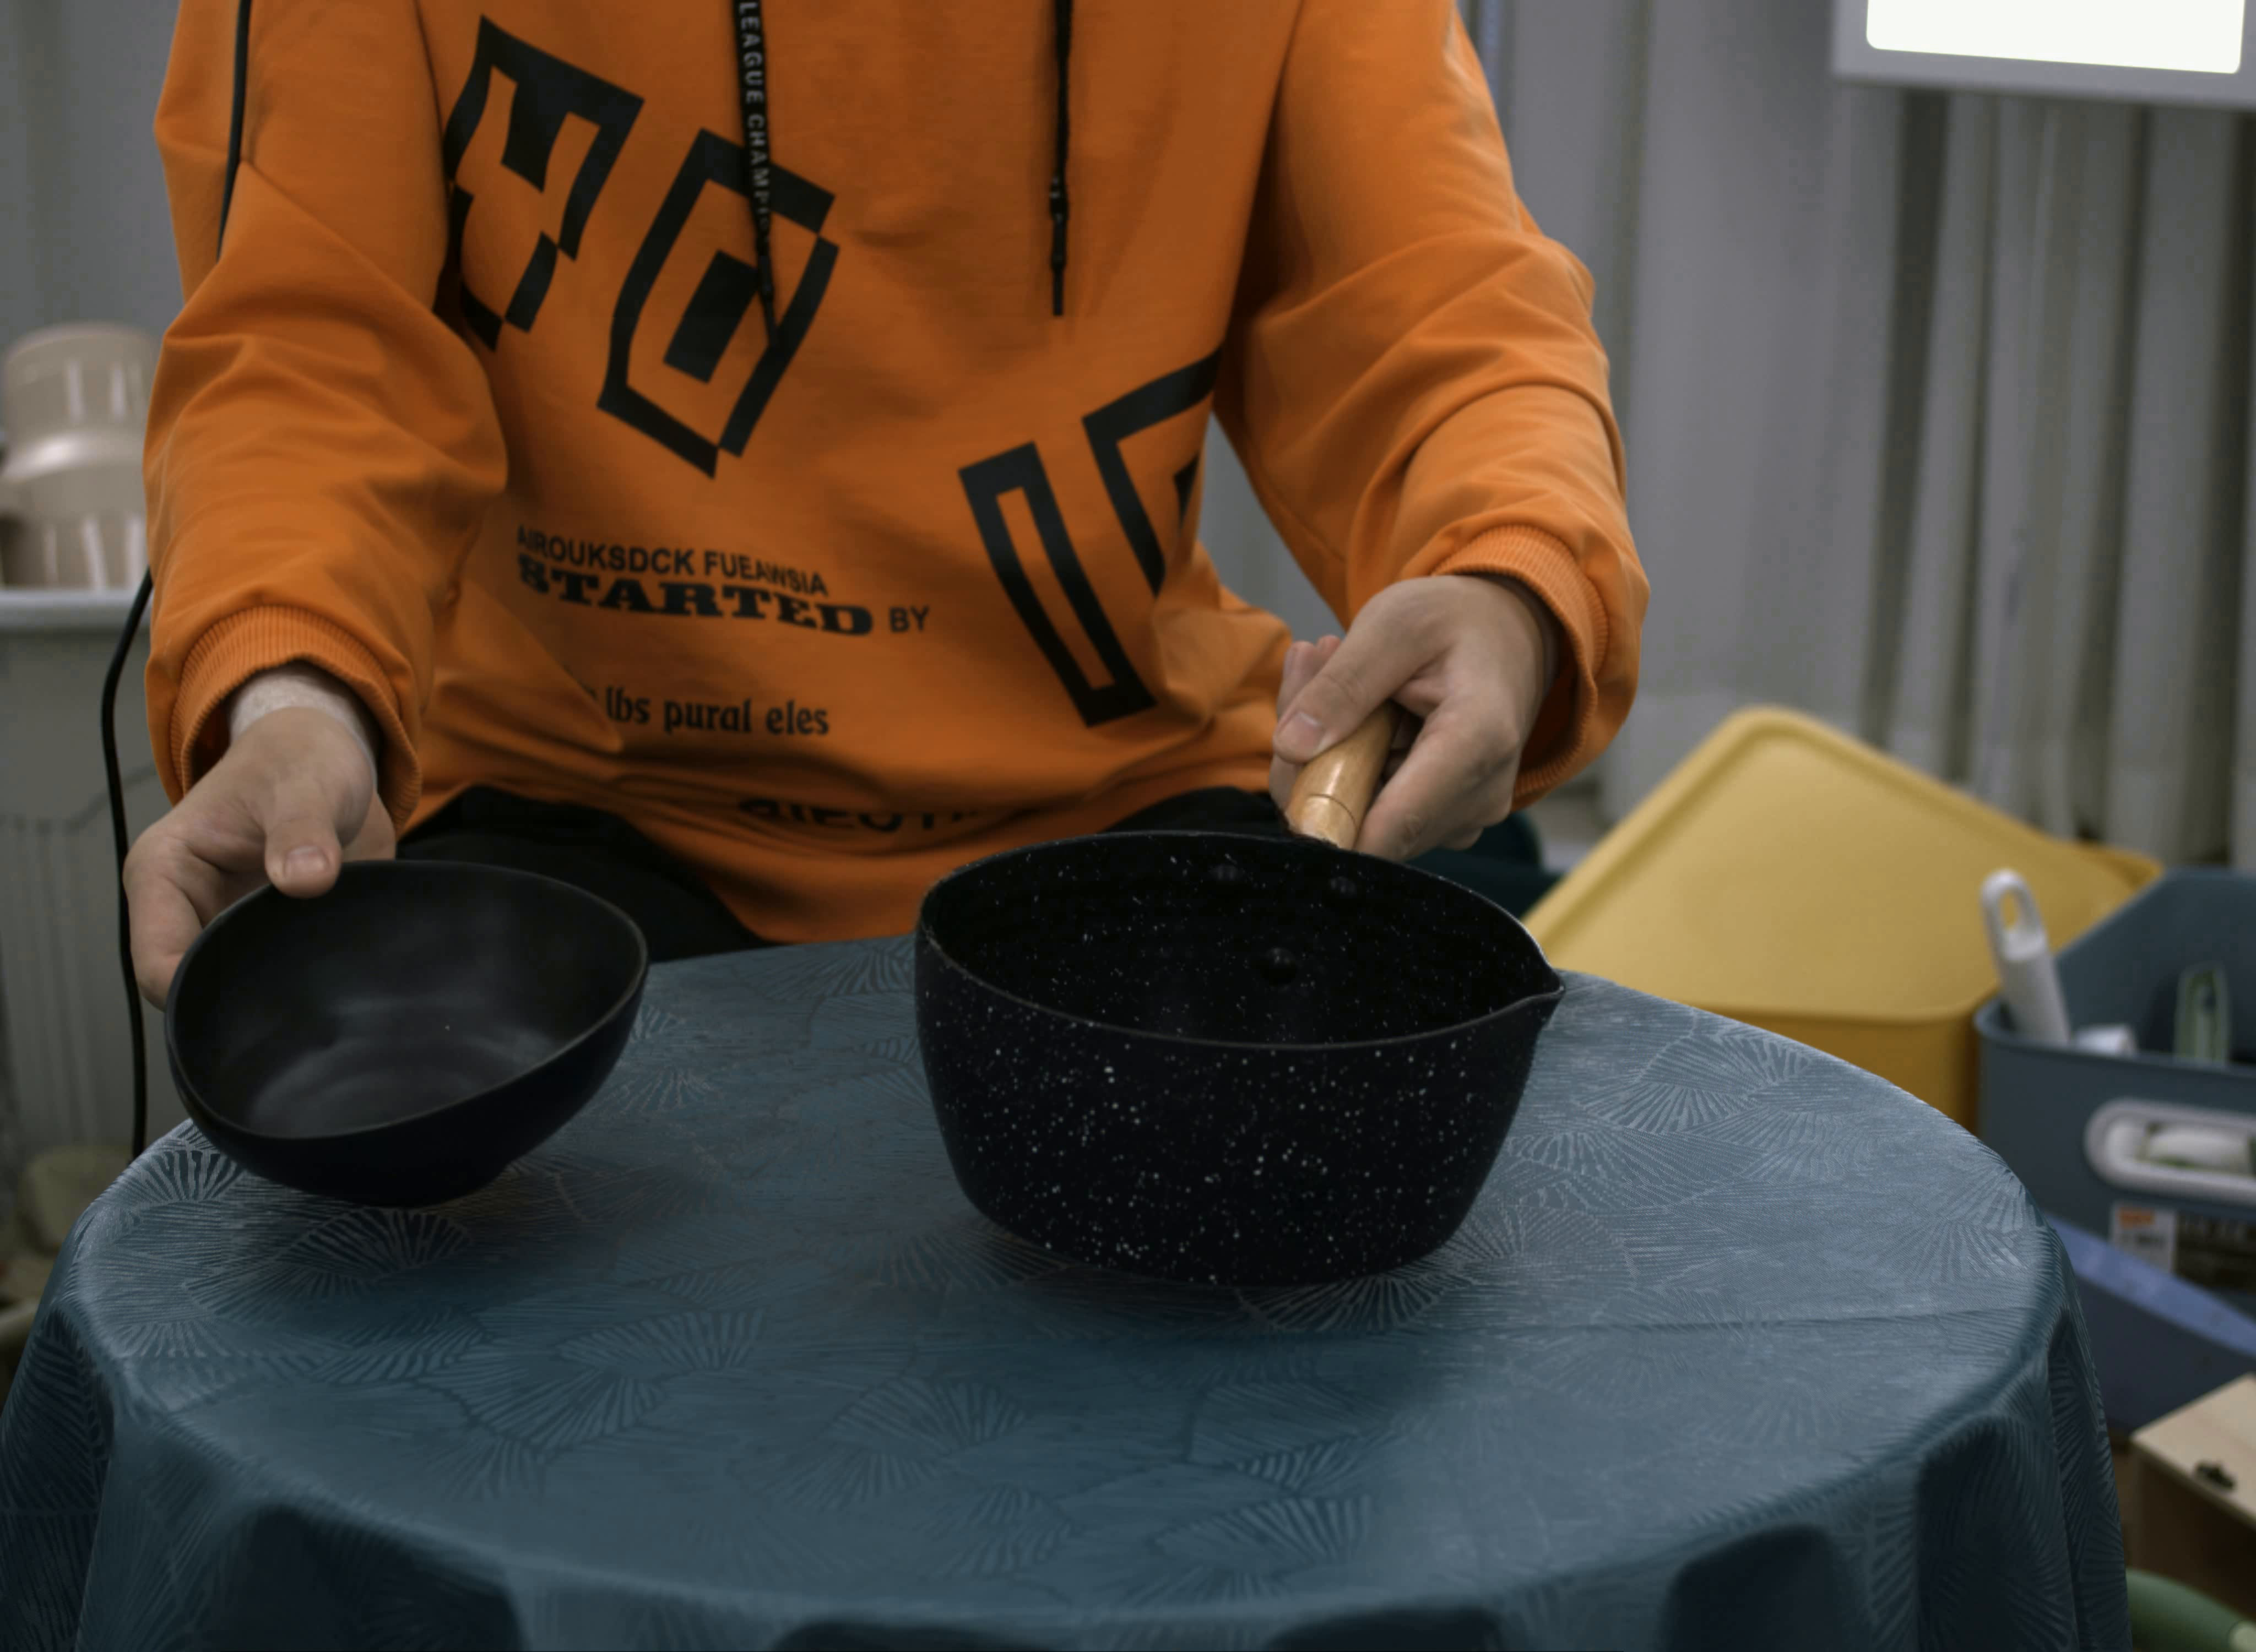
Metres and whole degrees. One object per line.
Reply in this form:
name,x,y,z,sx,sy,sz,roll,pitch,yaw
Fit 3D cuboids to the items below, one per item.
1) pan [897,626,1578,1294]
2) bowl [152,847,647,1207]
pan,0.044,0.035,1.629,0.206,0.109,0.342,7,20,10
bowl,-0.218,0.070,1.587,0.136,0.067,0.170,14,31,19
